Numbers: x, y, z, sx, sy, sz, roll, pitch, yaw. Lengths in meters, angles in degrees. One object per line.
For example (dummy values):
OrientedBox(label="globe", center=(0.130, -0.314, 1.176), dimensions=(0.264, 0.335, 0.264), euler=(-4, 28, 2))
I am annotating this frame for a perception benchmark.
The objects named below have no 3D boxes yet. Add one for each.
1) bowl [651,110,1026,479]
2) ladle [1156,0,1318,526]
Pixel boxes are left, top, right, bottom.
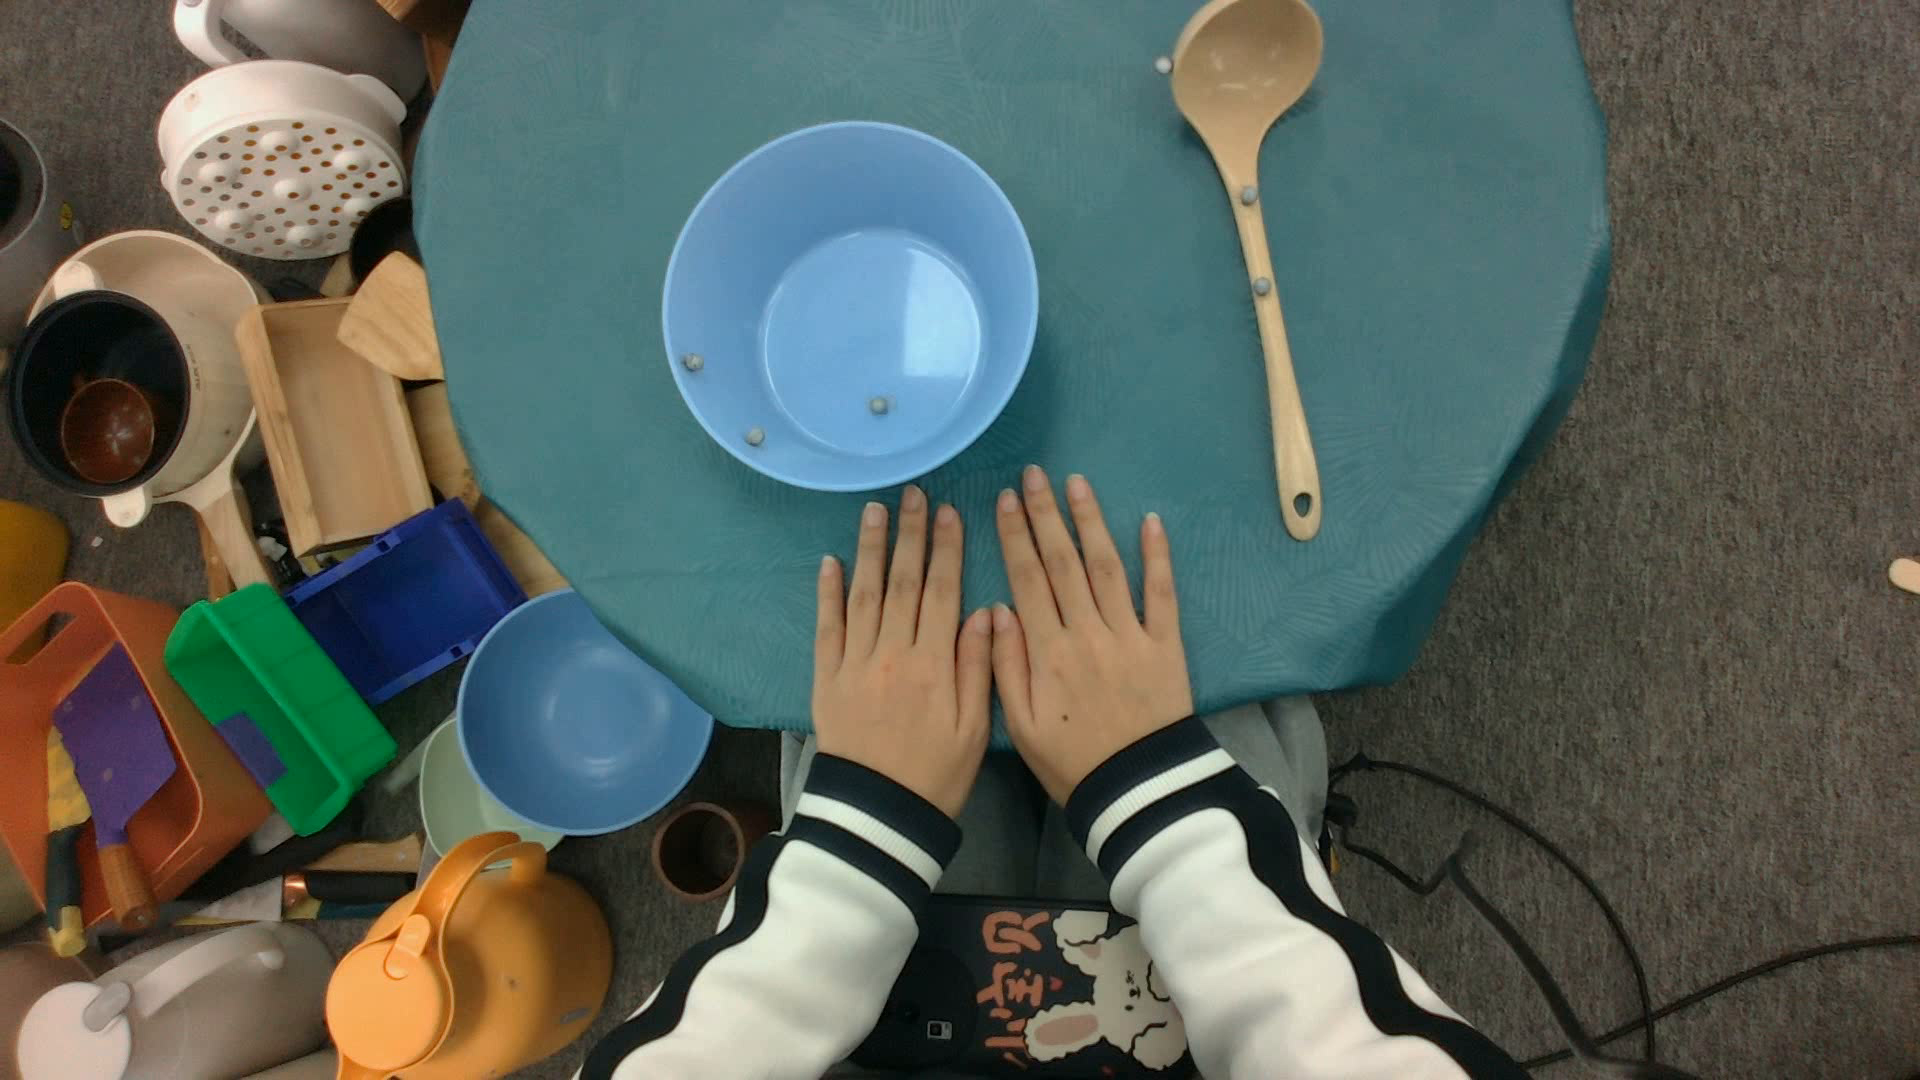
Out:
OrientedBox(label="bowl", center=(-0.053, -0.110, 0.662), dimensions=(0.176, 0.070, 0.176), euler=(-1, 81, 7))
OrientedBox(label="ladle", center=(0.147, -0.137, 0.643), dimensions=(0.072, 0.072, 0.255), euler=(-9, 81, -10))
